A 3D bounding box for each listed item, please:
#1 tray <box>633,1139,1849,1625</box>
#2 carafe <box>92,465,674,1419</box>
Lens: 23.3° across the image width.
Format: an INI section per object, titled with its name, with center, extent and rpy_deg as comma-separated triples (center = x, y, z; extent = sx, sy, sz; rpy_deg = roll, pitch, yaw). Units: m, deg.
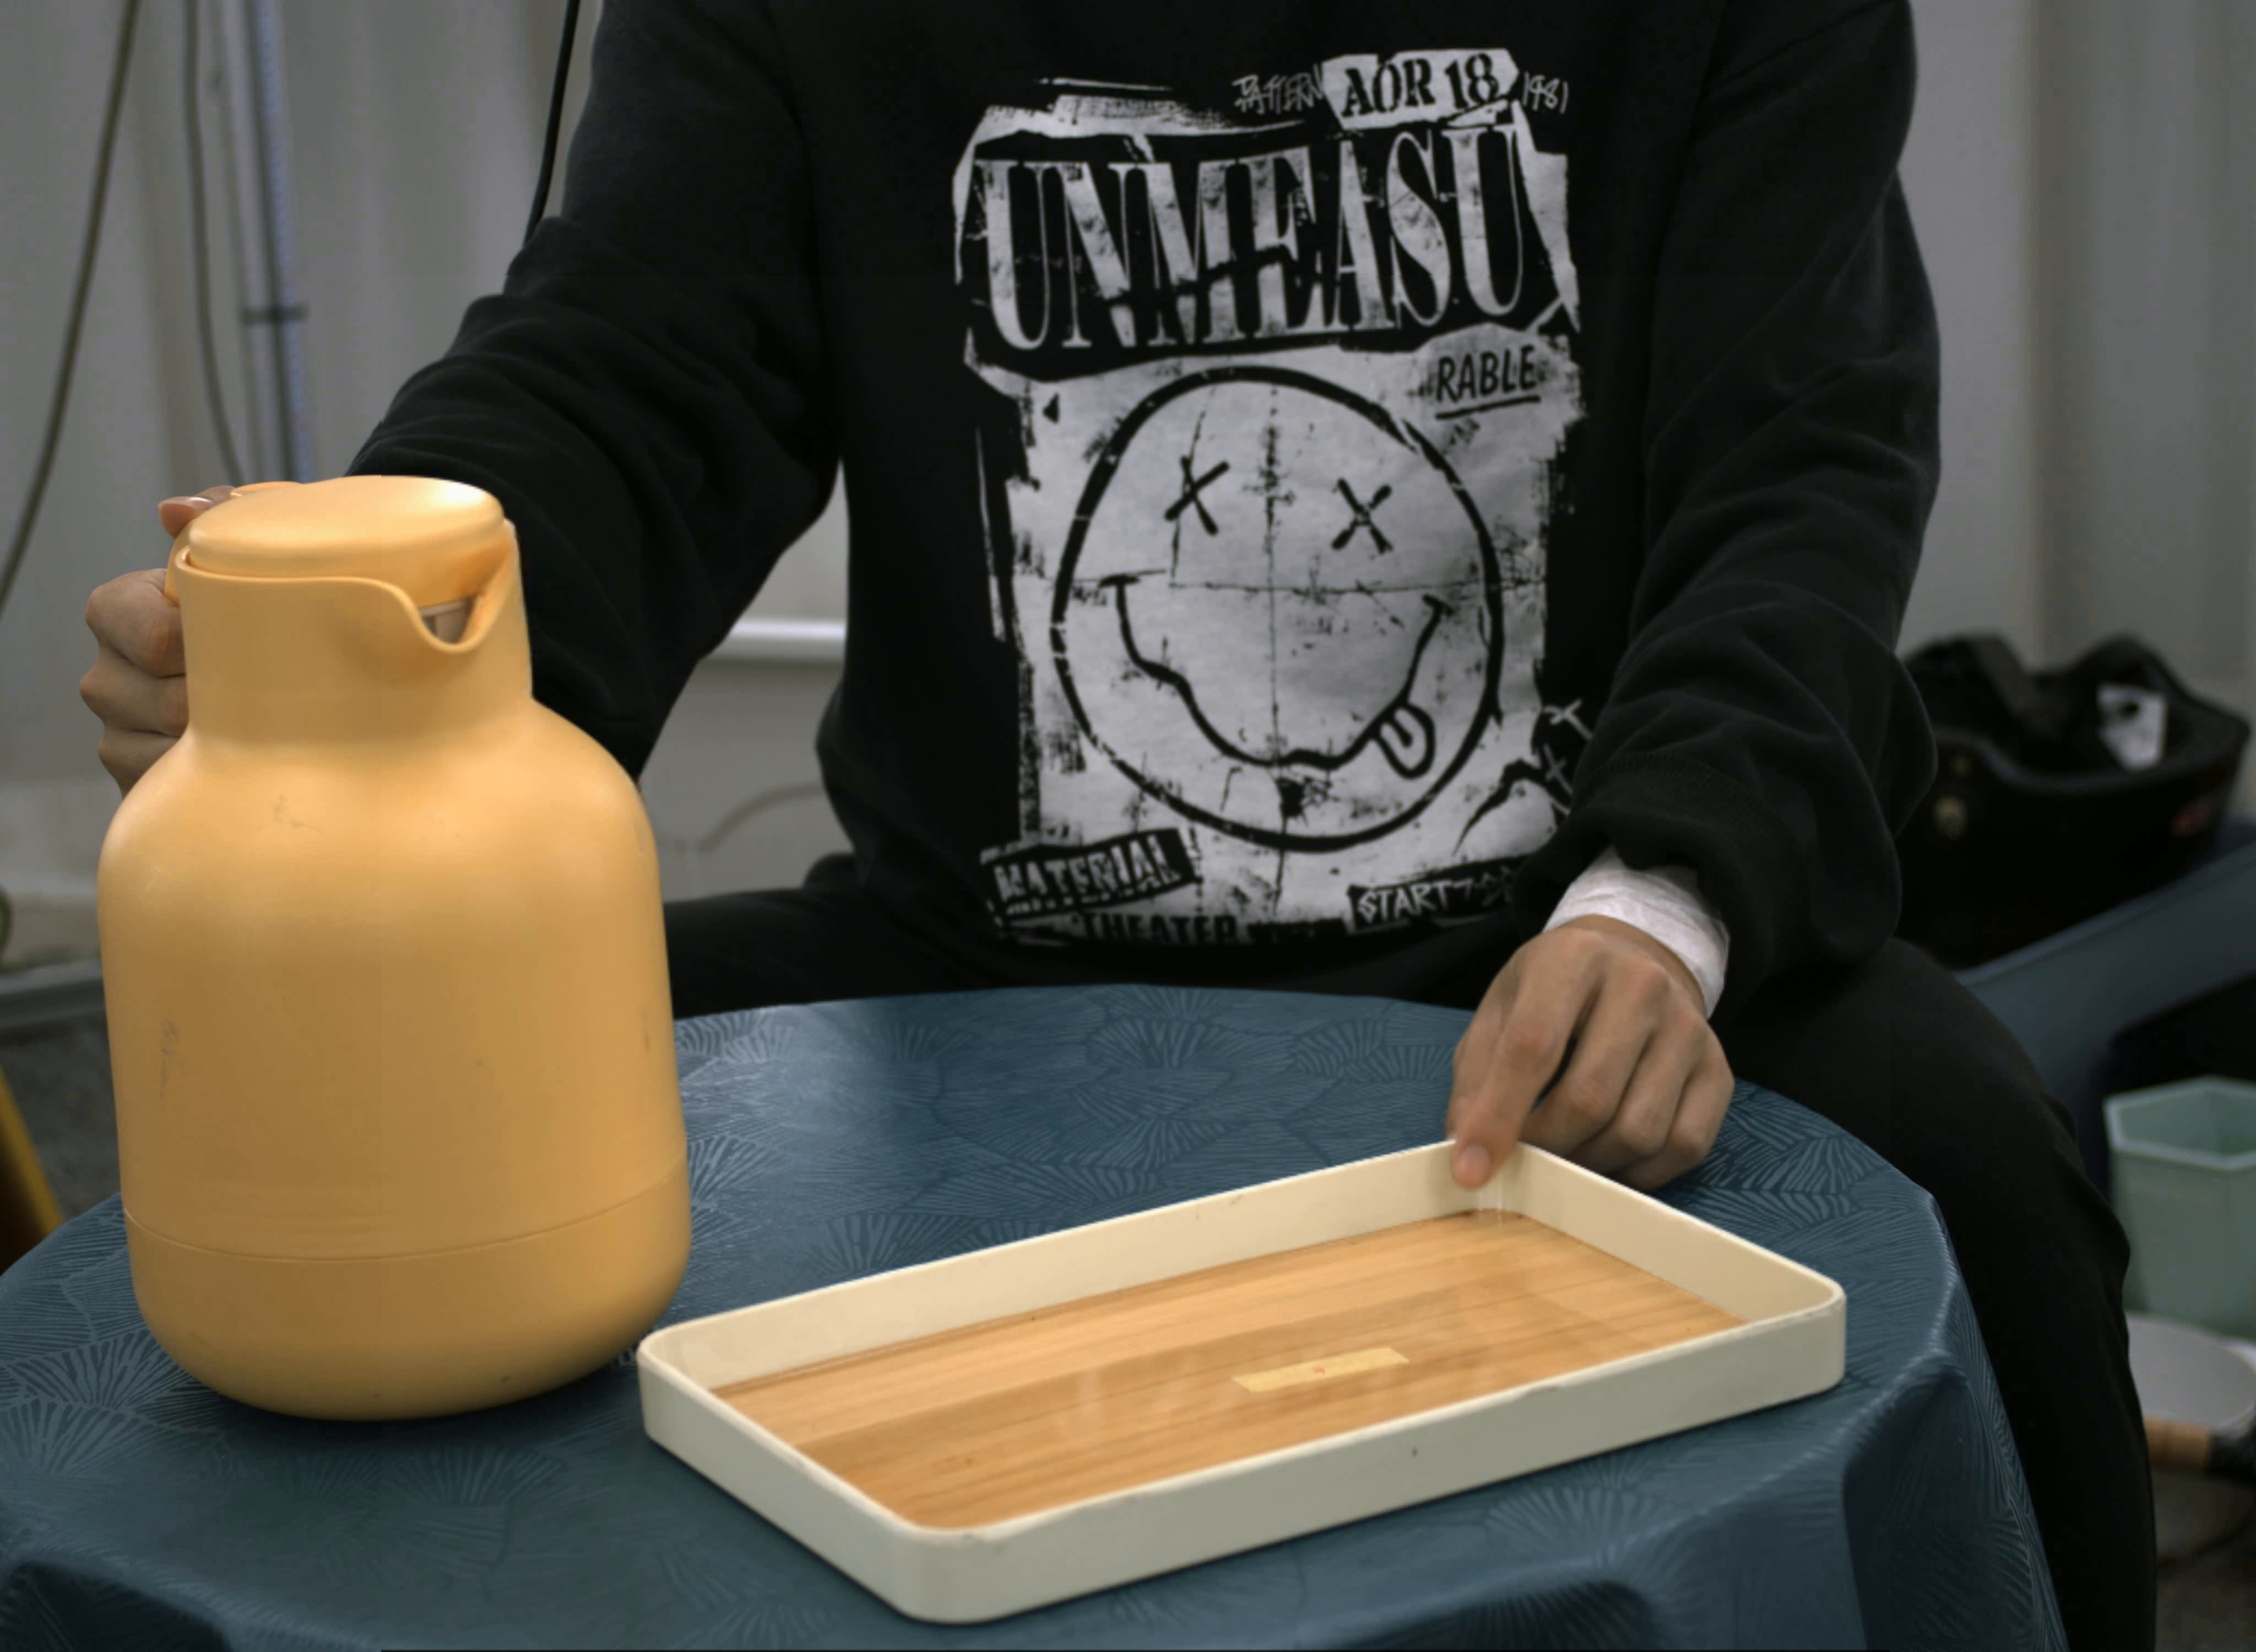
[tray]
center = 0.031, 0.150, 1.524
extent = 0.299, 0.027, 0.193
rpy_deg = -11, 17, -28
[carafe]
center = -0.223, 0.025, 1.587
extent = 0.162, 0.259, 0.204
rpy_deg = -8, 16, -27
